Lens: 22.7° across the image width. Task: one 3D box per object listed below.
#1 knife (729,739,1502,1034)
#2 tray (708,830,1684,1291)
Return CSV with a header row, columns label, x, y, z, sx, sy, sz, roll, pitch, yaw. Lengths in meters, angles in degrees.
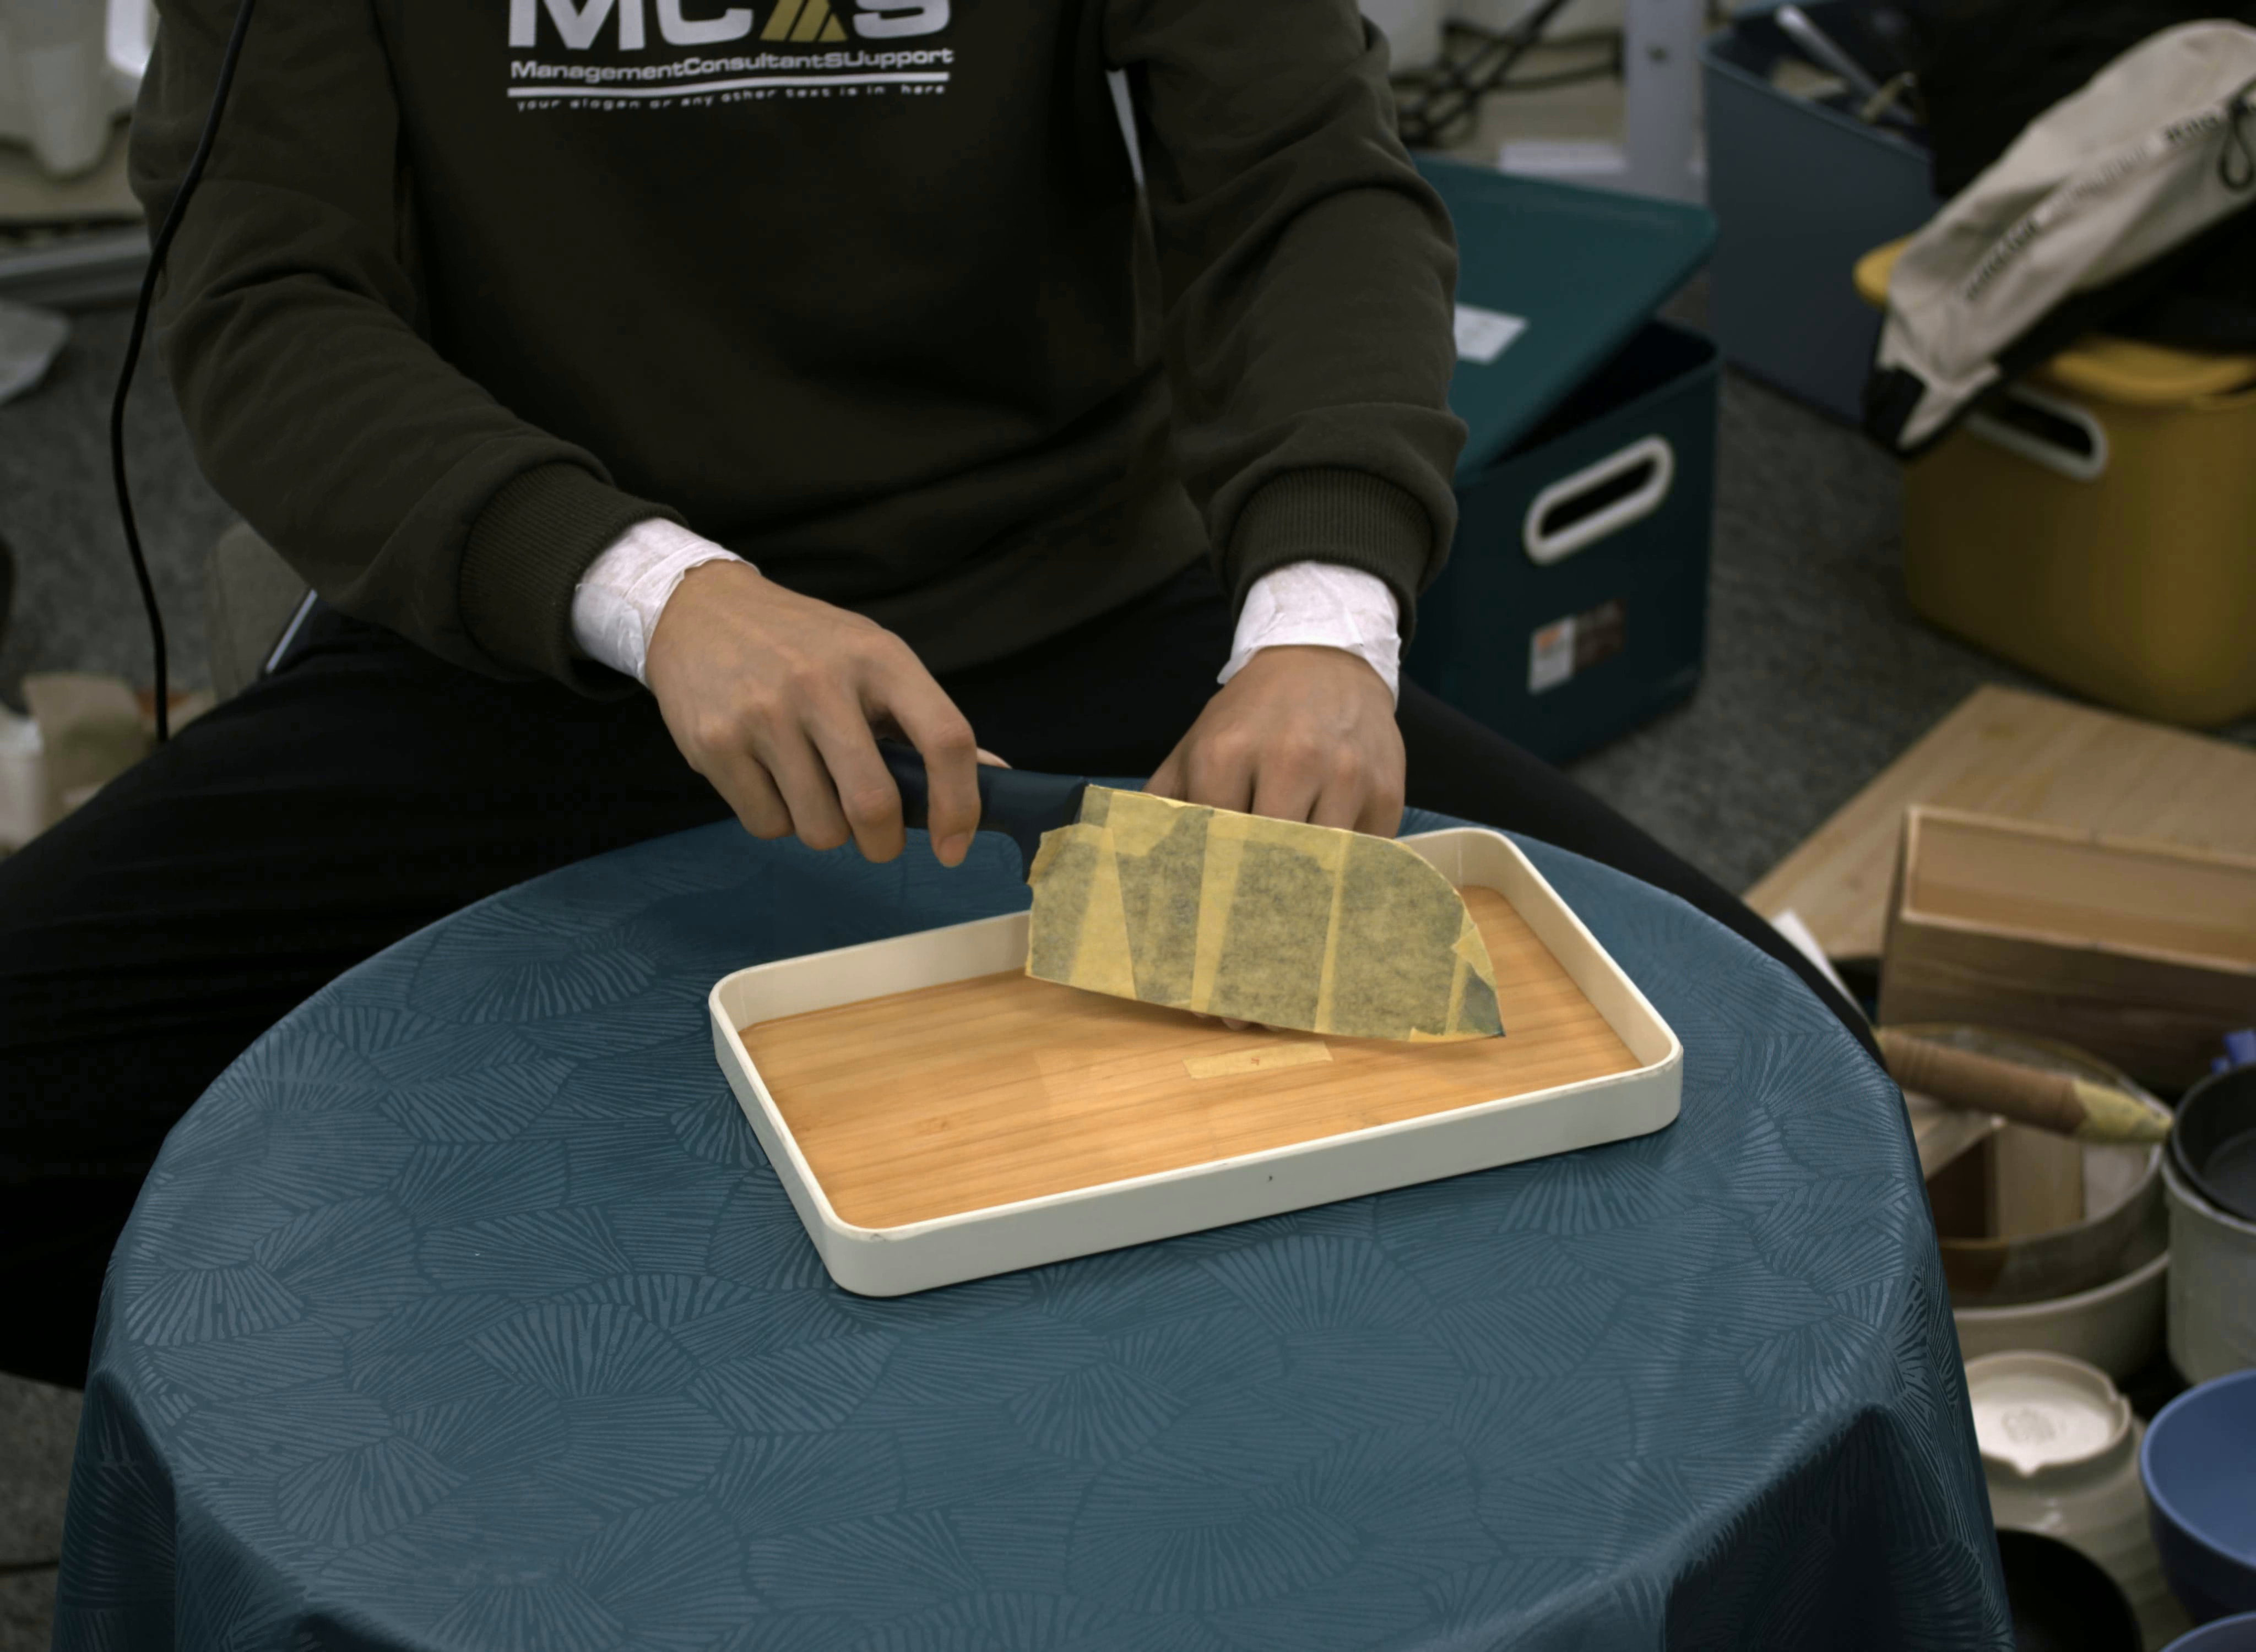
label,x,y,z,sx,sy,sz,roll,pitch,yaw
knife,-0.007,0.020,1.944,0.288,0.081,0.027,14,9,16
tray,0.021,0.077,1.918,0.300,0.027,0.193,-10,28,-15
